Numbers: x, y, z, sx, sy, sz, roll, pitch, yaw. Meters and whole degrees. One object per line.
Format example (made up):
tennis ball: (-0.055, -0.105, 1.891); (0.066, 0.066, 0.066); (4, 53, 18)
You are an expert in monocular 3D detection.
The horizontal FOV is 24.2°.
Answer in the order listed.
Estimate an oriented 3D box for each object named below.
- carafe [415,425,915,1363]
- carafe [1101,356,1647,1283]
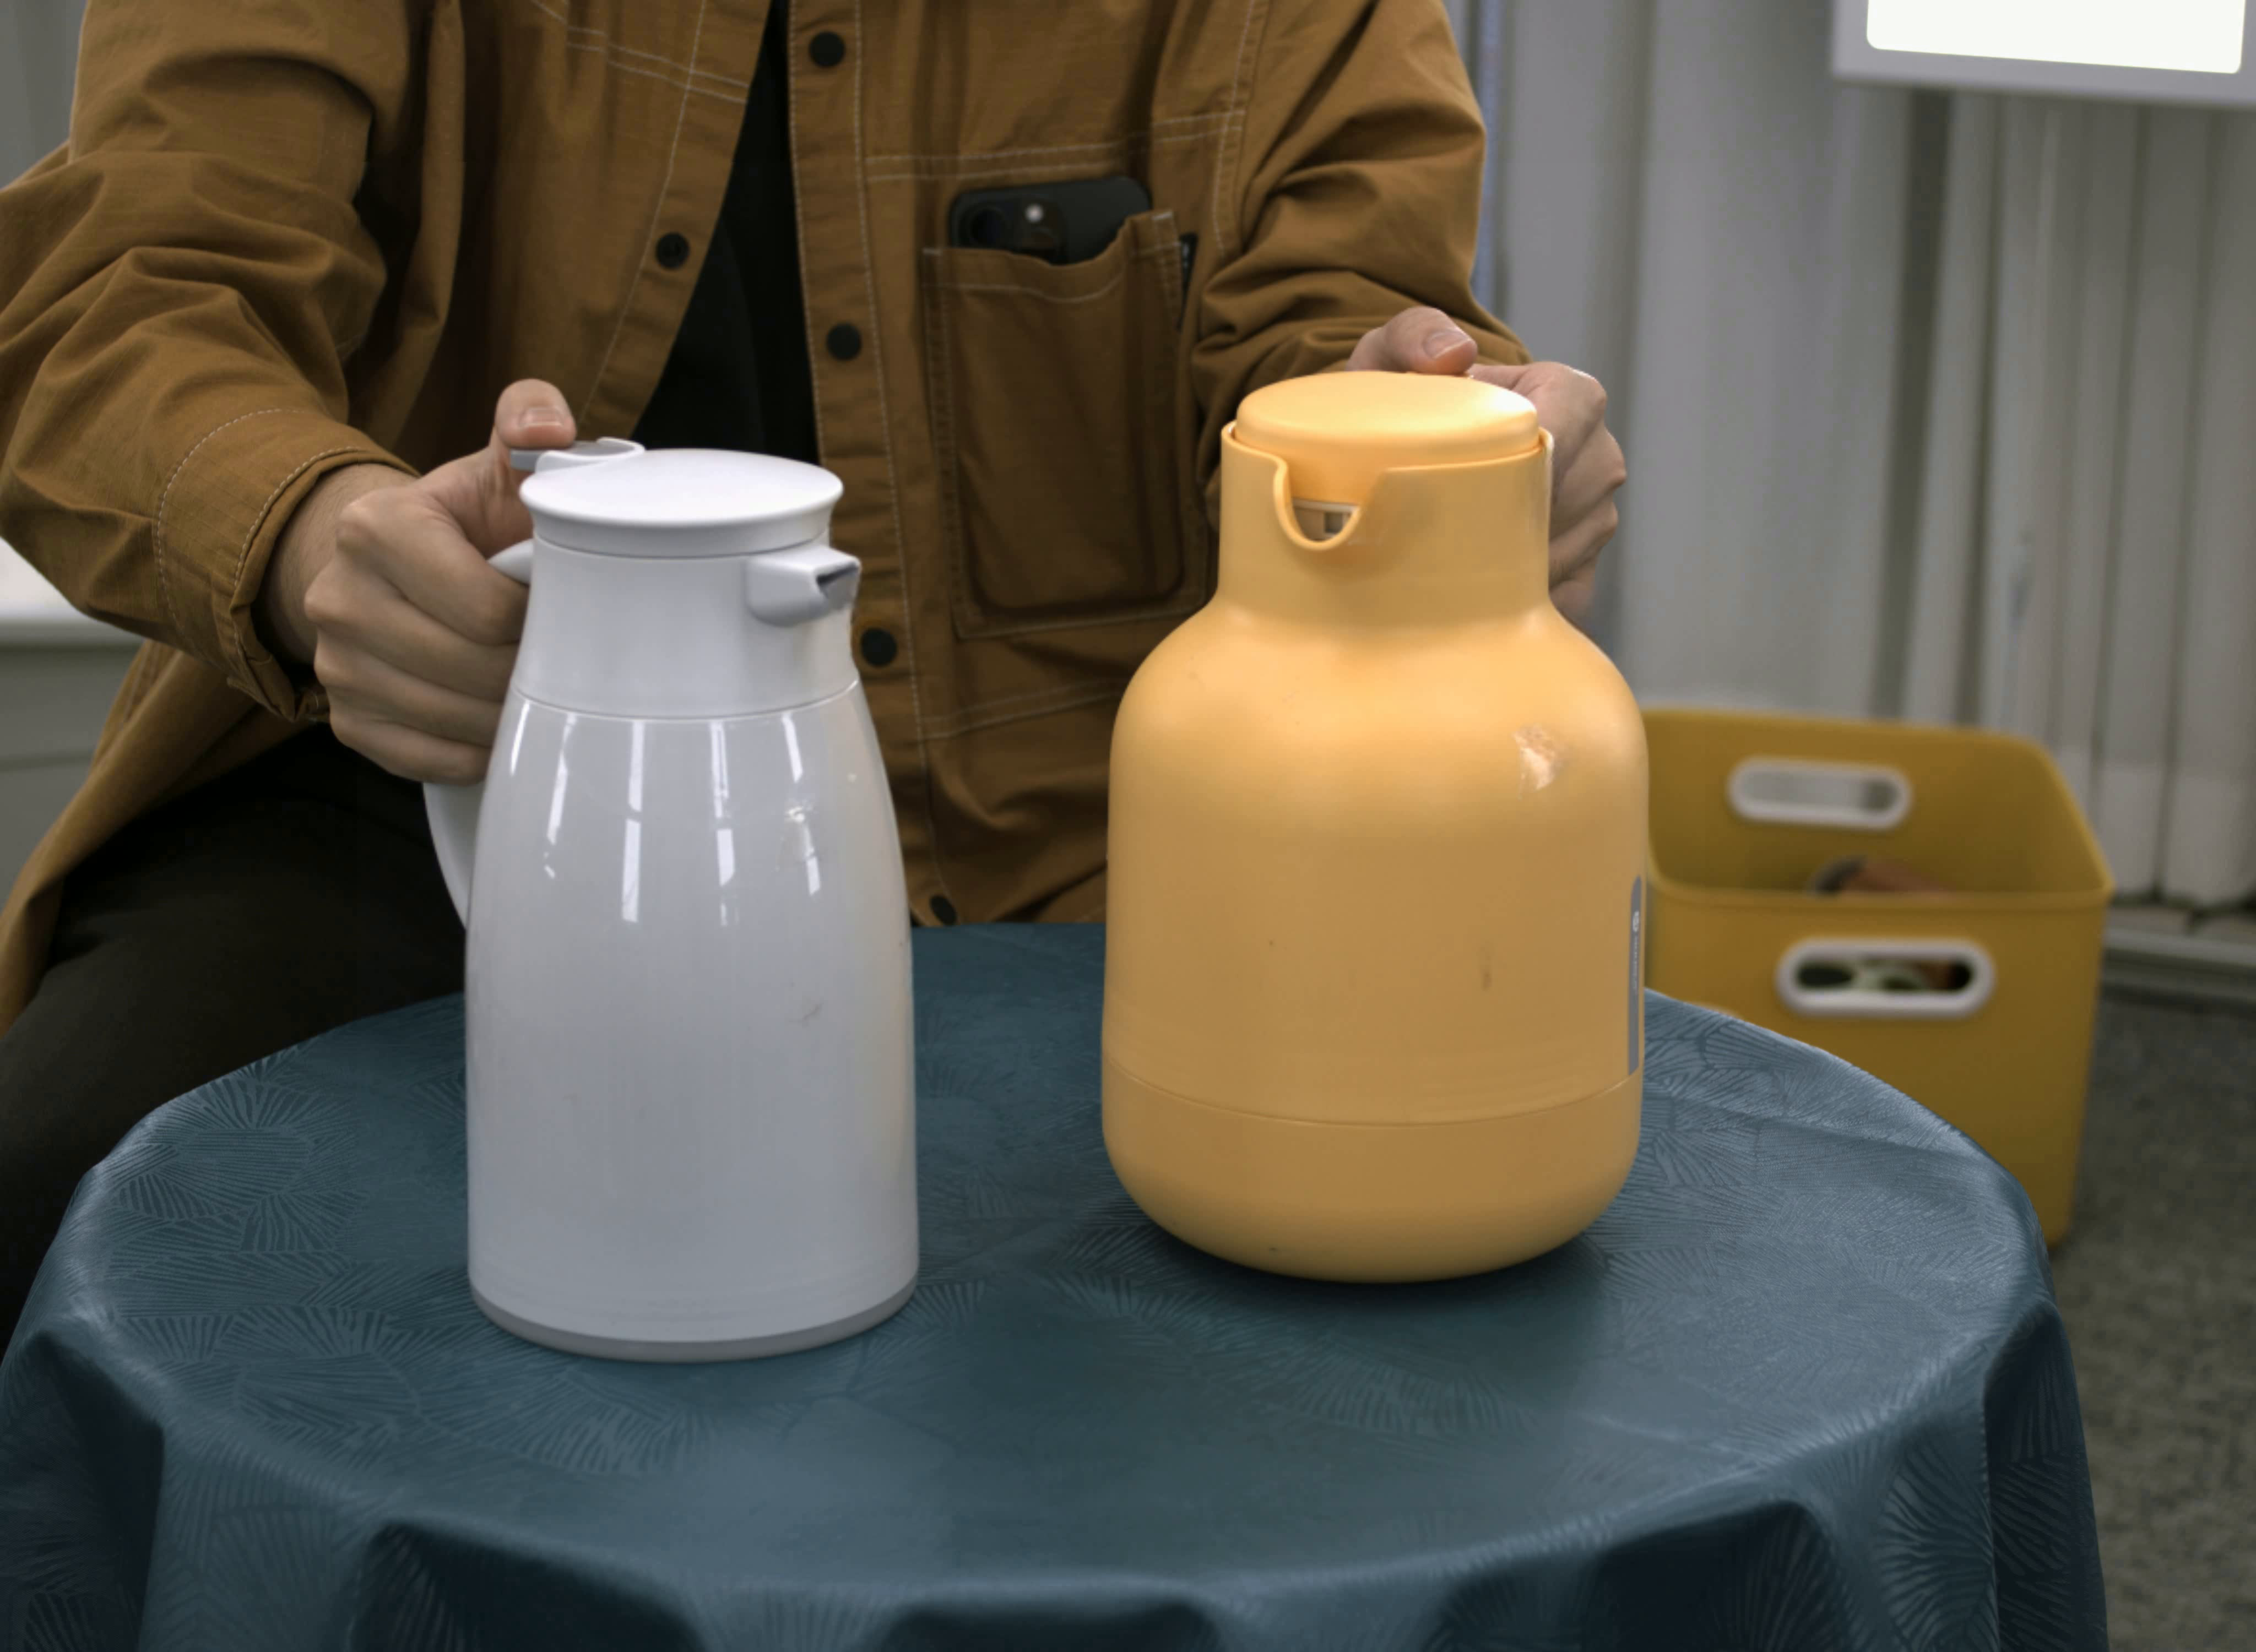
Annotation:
carafe: (-0.142, 0.011, 1.515); (0.165, 0.251, 0.133); (13, 21, 38)
carafe: (0.081, -0.010, 1.576); (0.162, 0.262, 0.202); (8, 19, 18)
